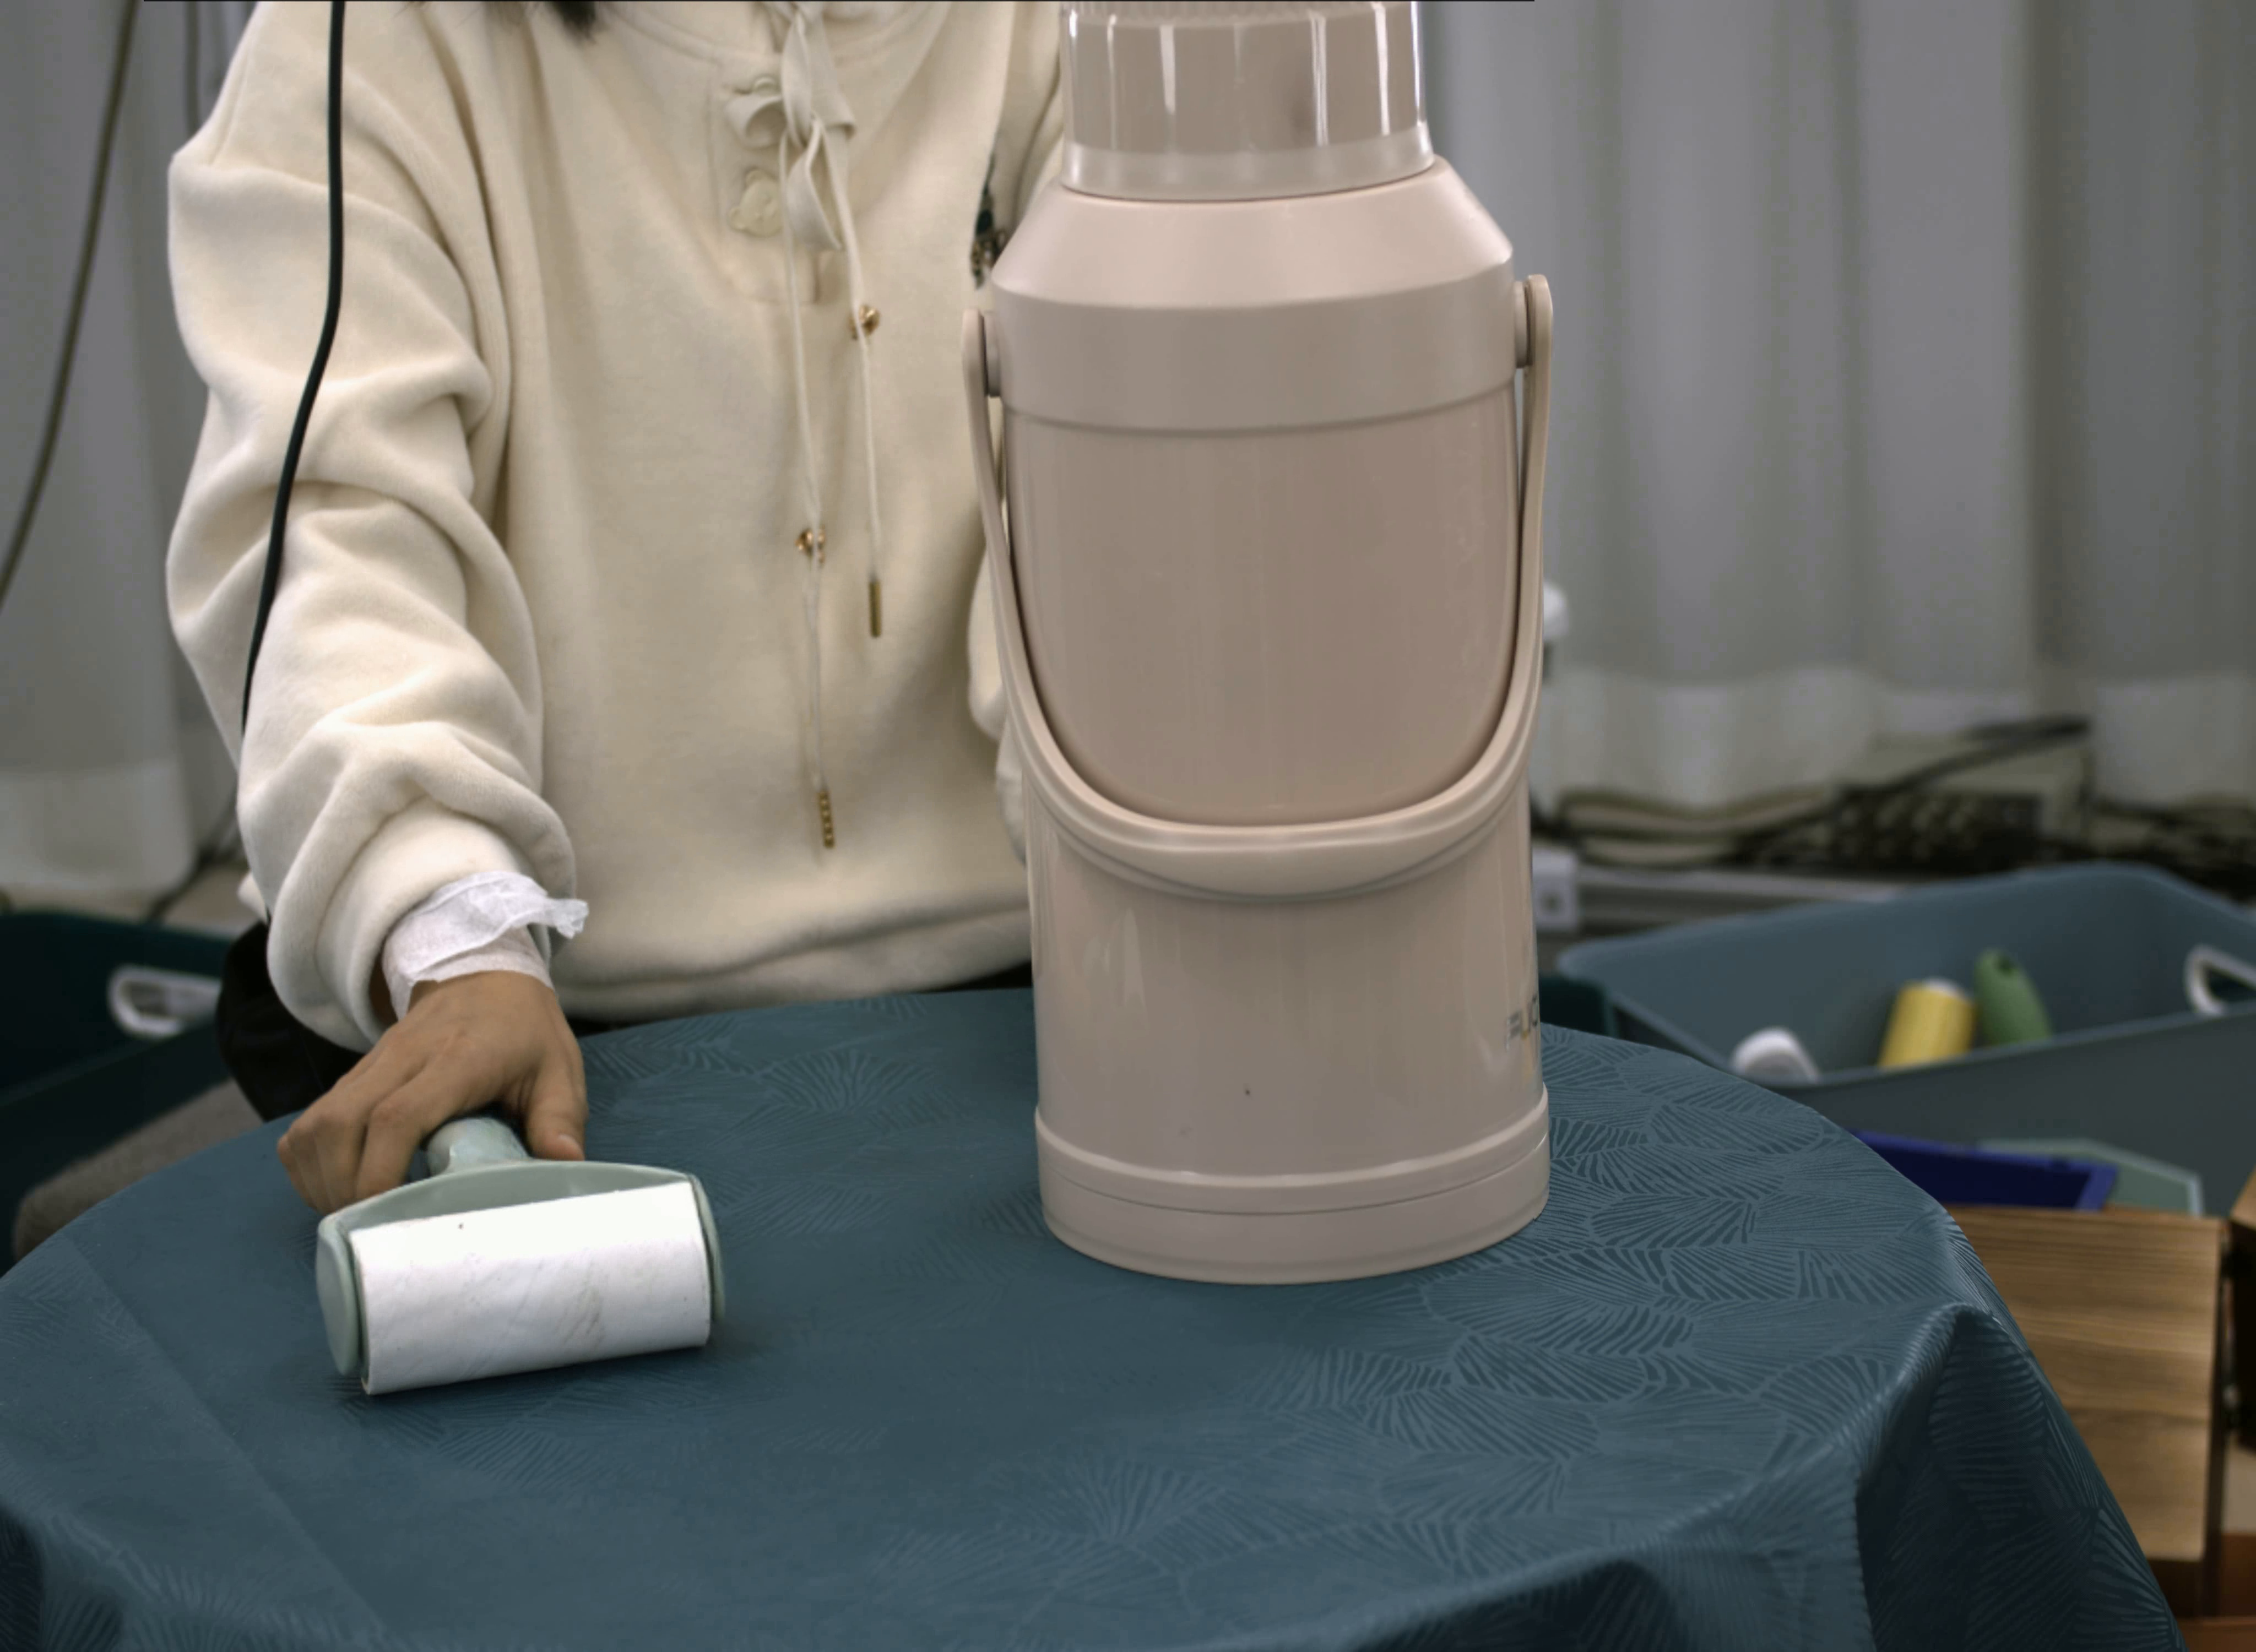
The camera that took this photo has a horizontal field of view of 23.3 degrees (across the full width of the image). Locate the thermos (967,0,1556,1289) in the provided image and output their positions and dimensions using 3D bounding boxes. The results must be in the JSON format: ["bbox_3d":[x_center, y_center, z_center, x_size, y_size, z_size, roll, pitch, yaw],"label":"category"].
[{"bbox_3d":[0.043,-0.078,1.665,0.175,0.405,0.208,-3,13,0],"label":"thermos"}]

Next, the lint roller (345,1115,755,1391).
[{"bbox_3d":[-0.185,0.115,1.655,0.116,0.048,0.199,-9,16,-13],"label":"lint roller"}]
